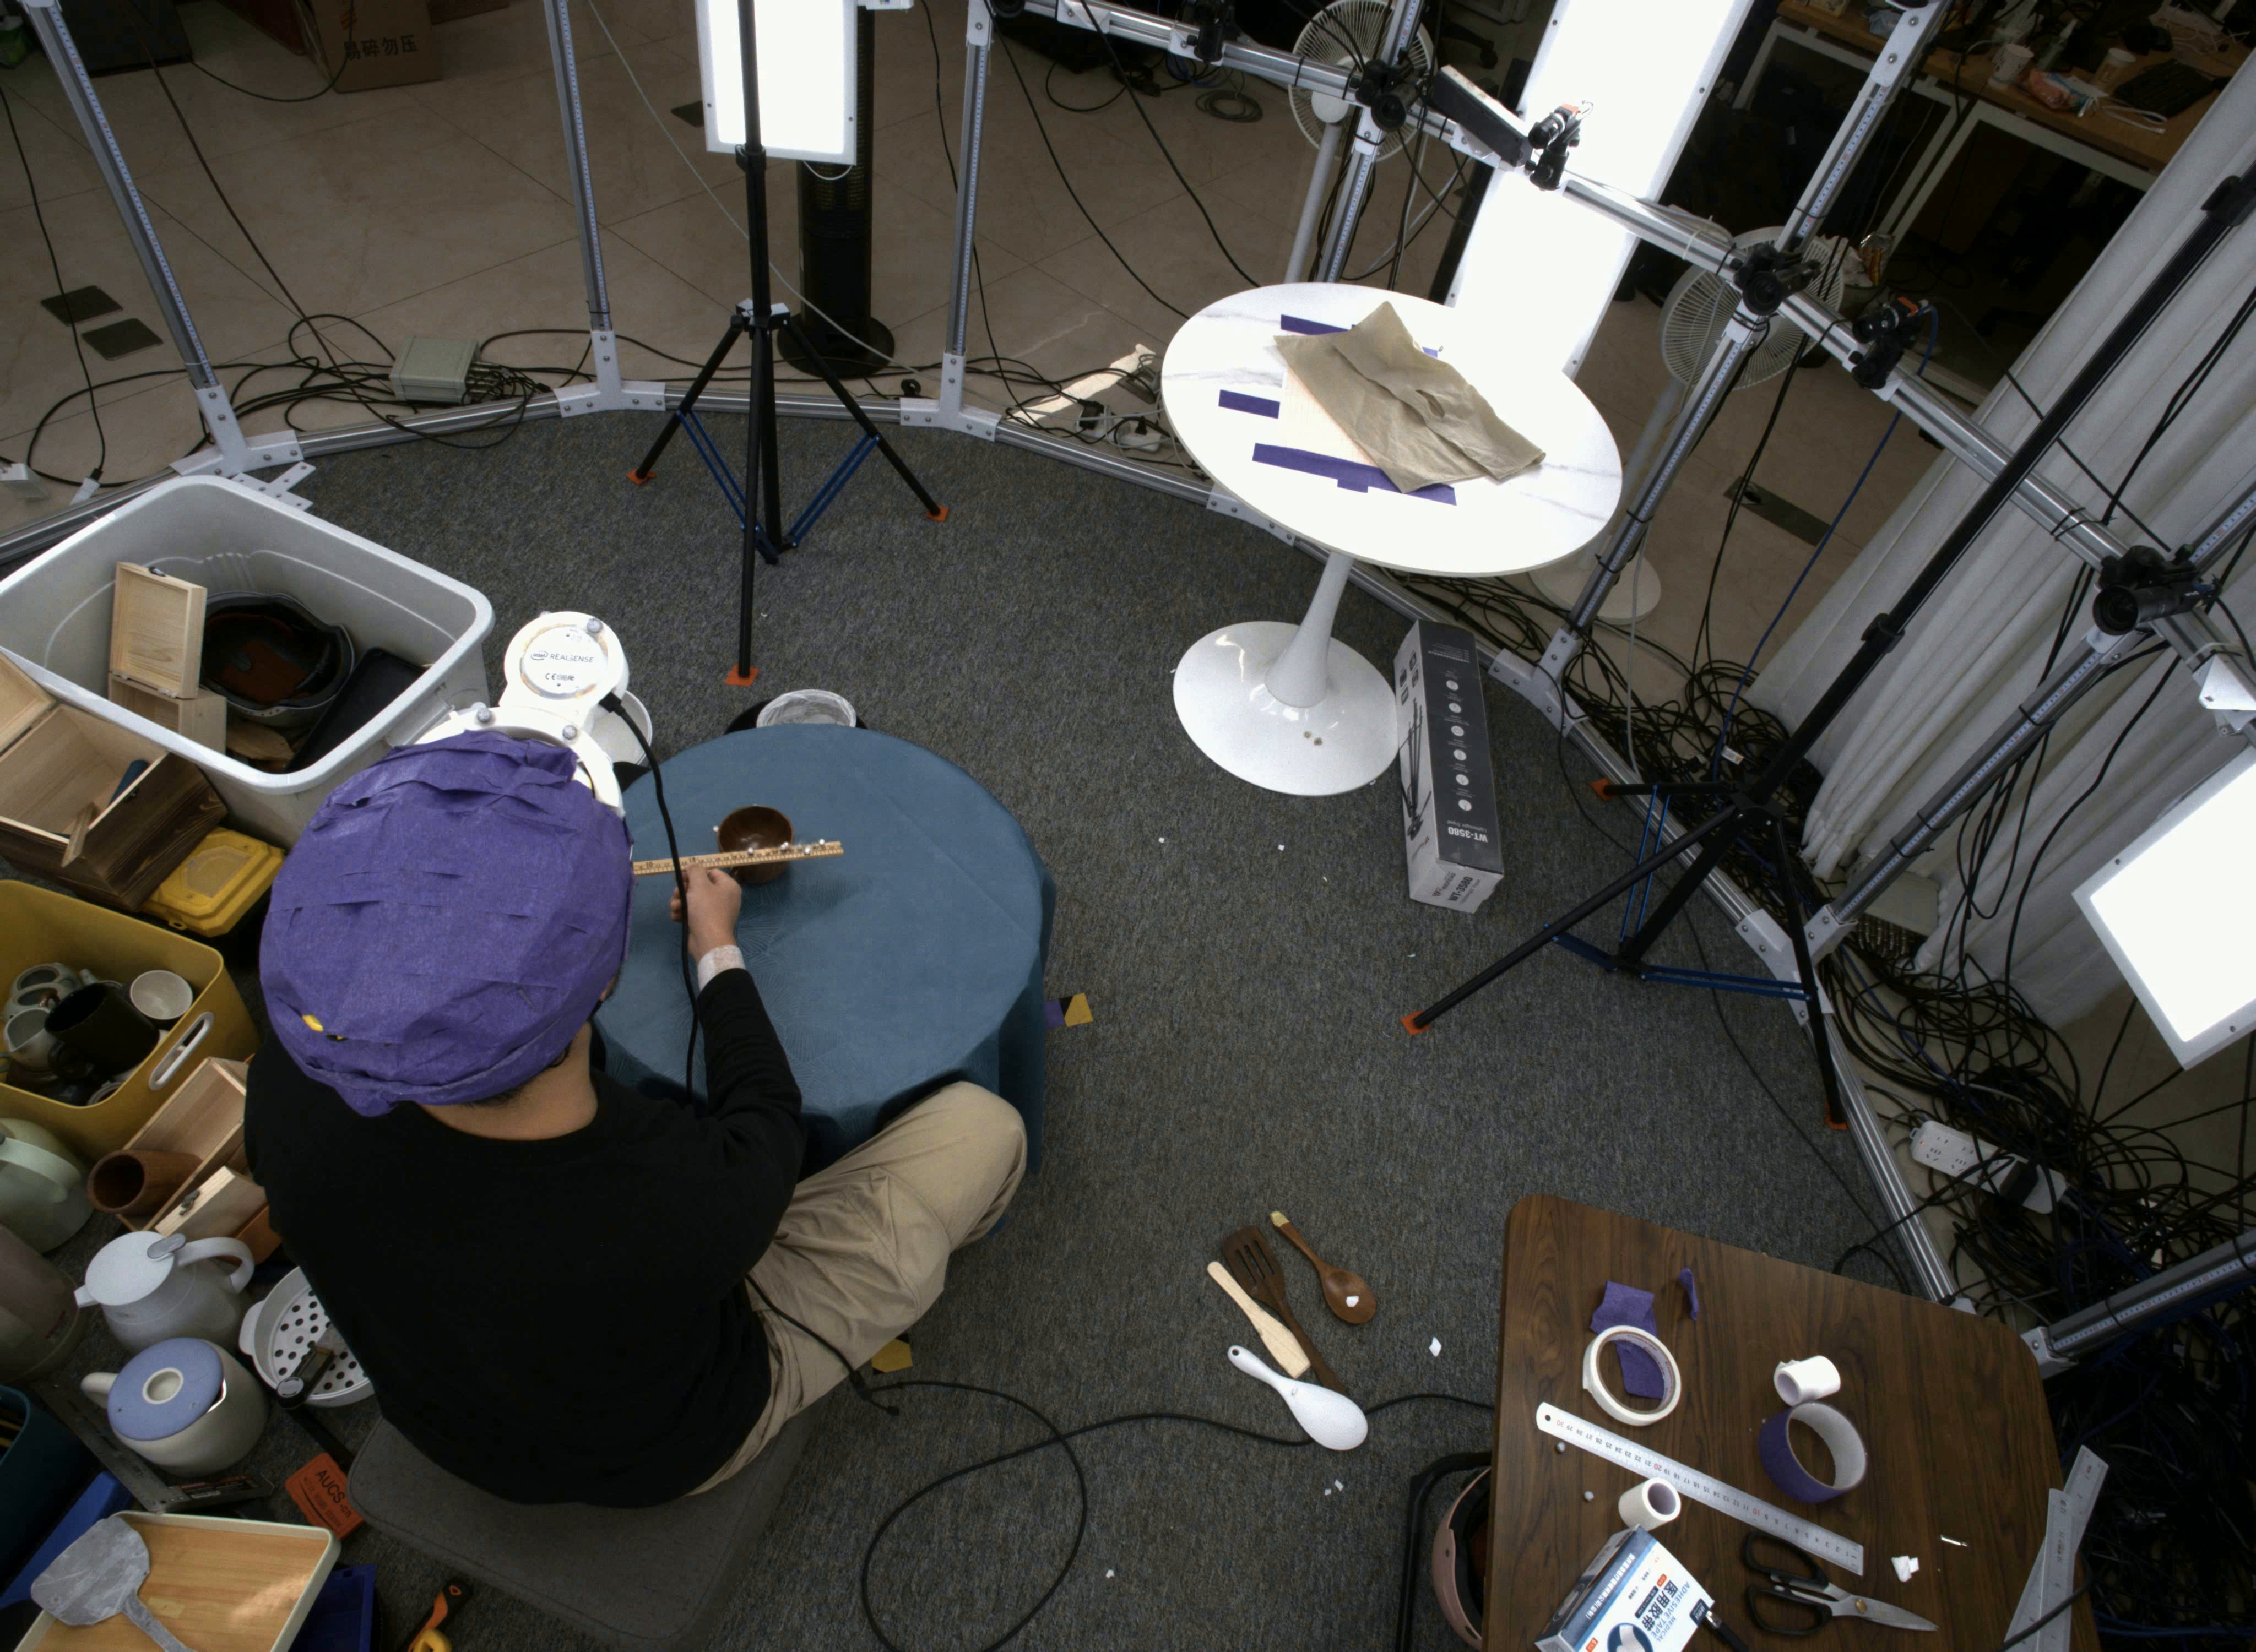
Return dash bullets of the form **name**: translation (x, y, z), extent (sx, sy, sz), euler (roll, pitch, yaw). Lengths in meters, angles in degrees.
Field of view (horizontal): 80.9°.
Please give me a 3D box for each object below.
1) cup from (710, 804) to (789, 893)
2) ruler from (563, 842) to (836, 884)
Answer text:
- **cup**: translation (-0.482, 0.037, 1.634), extent (0.095, 0.069, 0.118), euler (19, 53, -1)
- **ruler**: translation (-0.521, 0.040, 1.562), extent (0.334, 0.023, 0.026), euler (-5, 33, -23)
